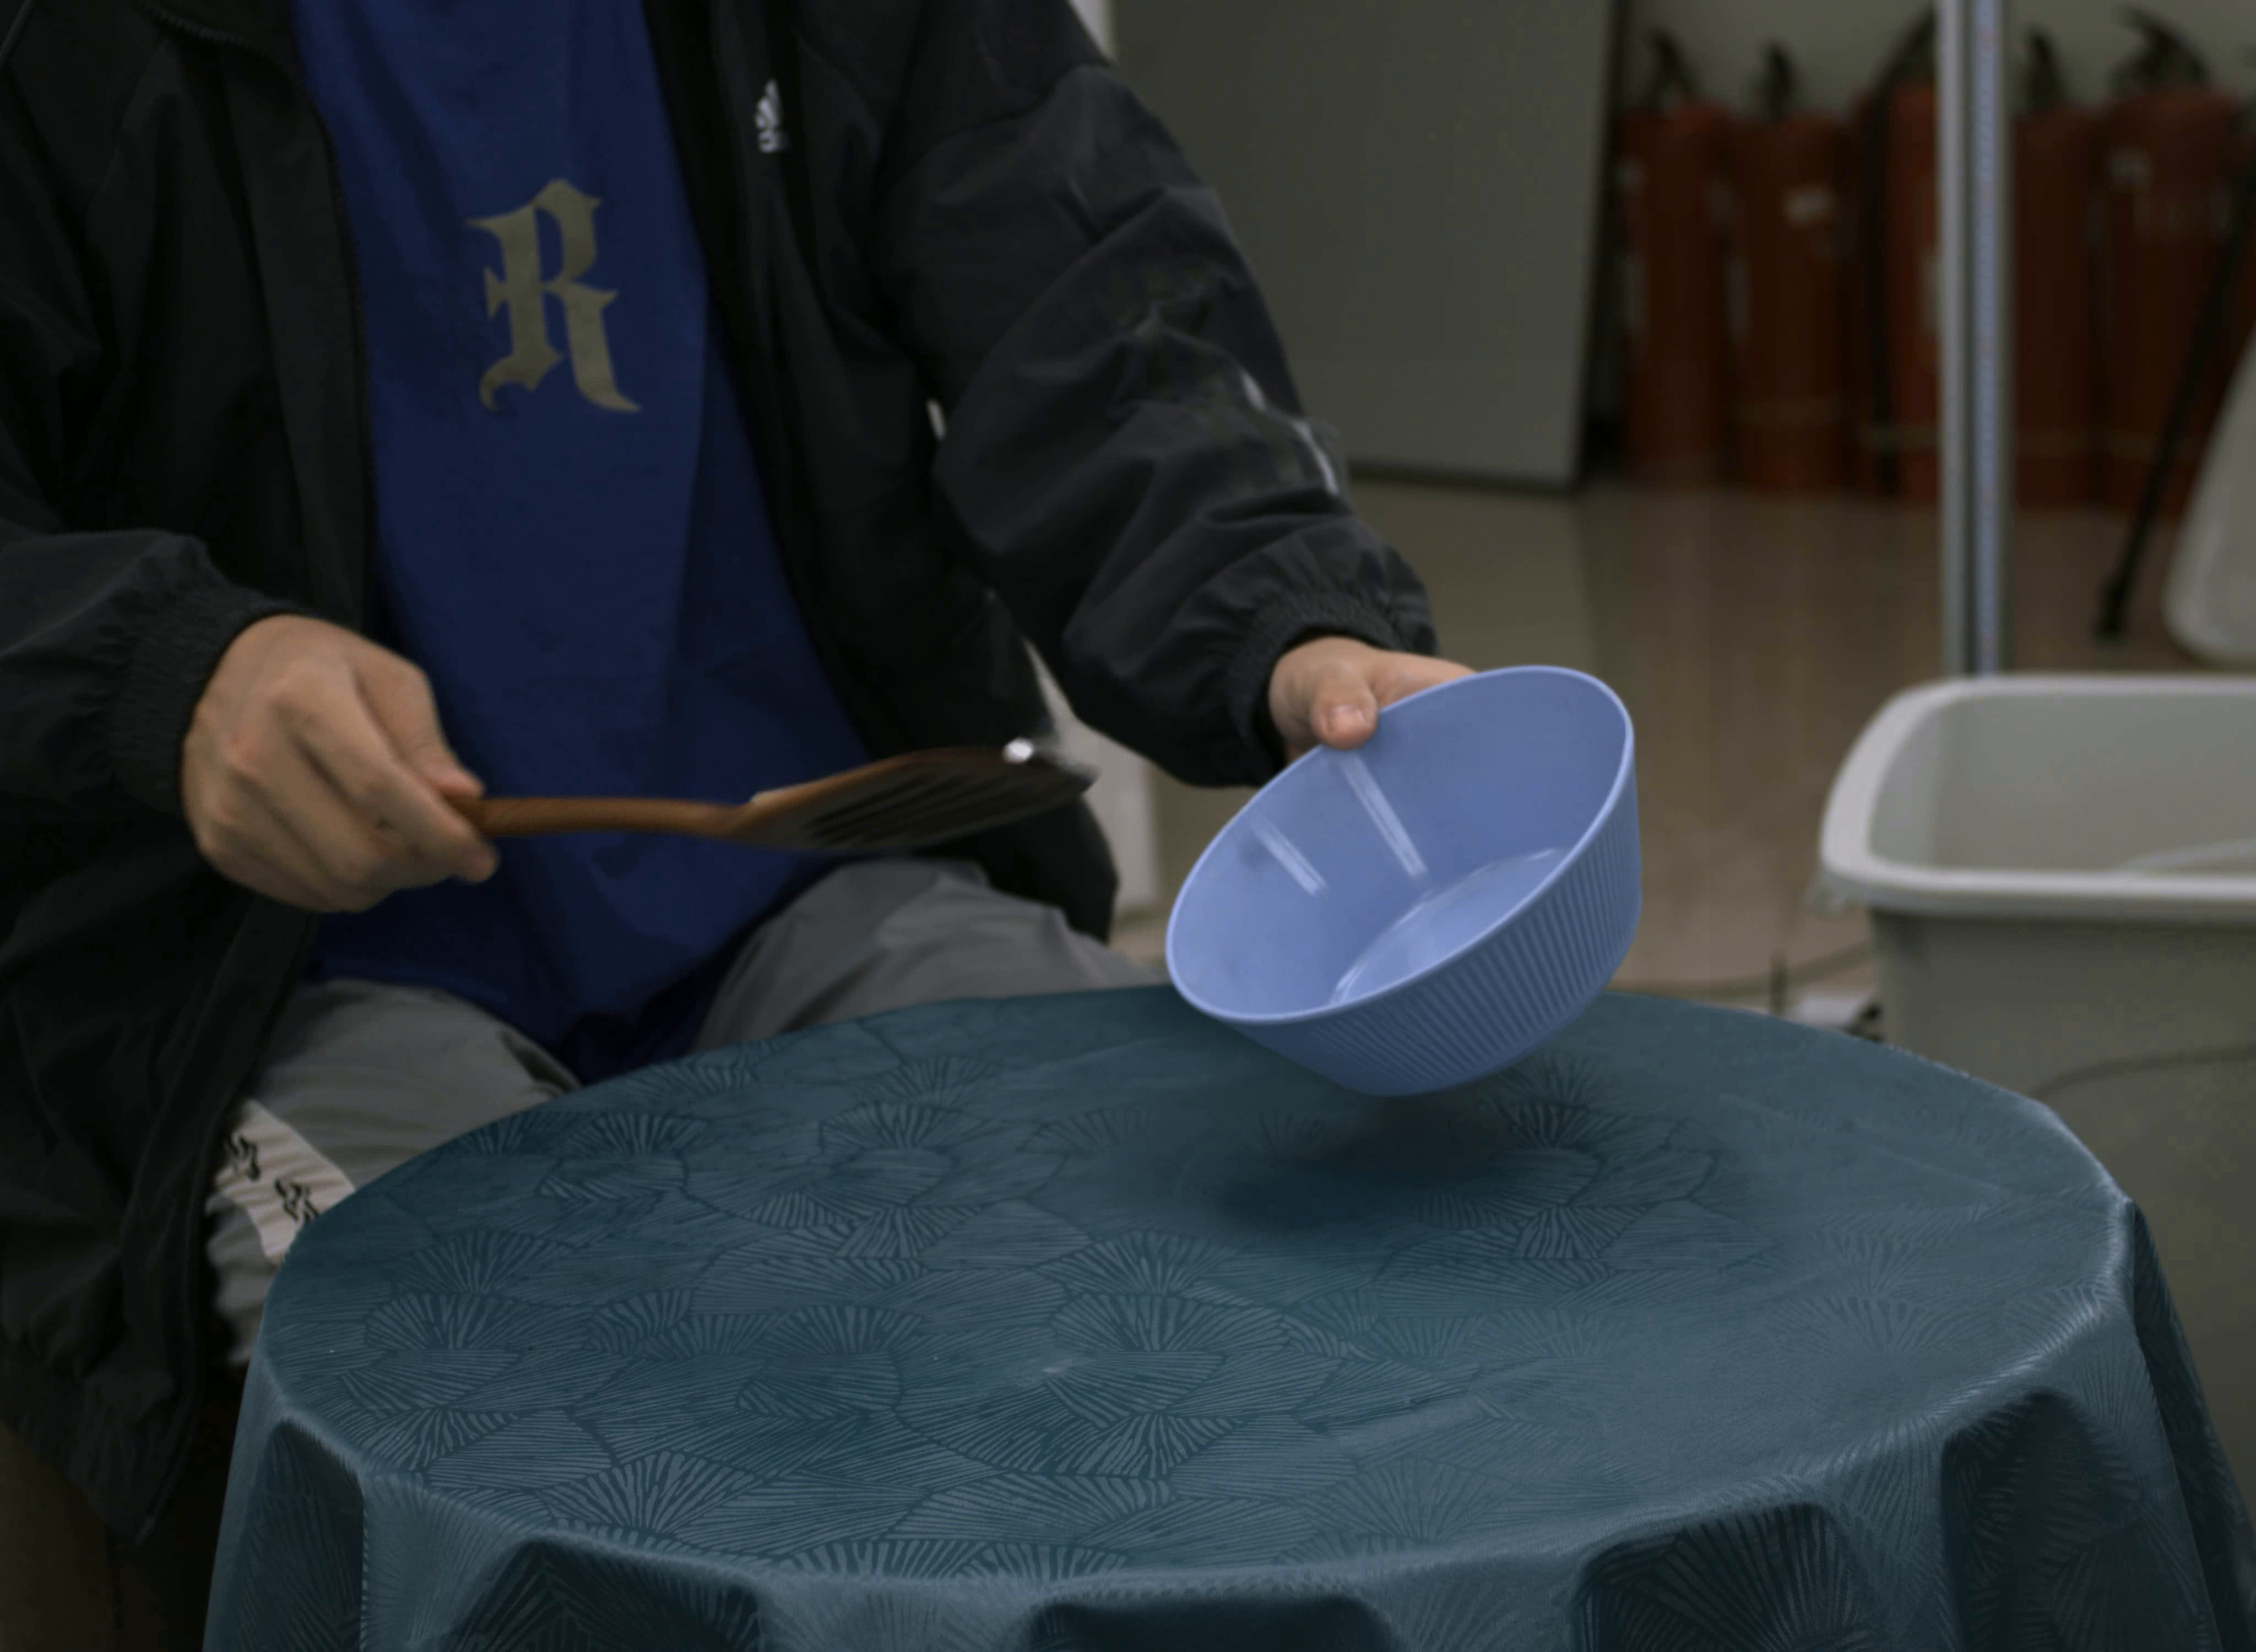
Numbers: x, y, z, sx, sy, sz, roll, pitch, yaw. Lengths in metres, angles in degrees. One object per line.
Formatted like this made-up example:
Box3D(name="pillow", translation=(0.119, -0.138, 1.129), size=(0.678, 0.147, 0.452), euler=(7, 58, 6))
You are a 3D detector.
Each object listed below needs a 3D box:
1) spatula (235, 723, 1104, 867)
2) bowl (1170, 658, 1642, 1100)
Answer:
Box3D(name="spatula", translation=(-0.166, -0.005, 1.747), size=(0.390, 0.024, 0.083), euler=(-5, -9, 44))
Box3D(name="bowl", translation=(0.104, 0.027, 1.783), size=(0.176, 0.070, 0.177), euler=(-28, 27, 15))
